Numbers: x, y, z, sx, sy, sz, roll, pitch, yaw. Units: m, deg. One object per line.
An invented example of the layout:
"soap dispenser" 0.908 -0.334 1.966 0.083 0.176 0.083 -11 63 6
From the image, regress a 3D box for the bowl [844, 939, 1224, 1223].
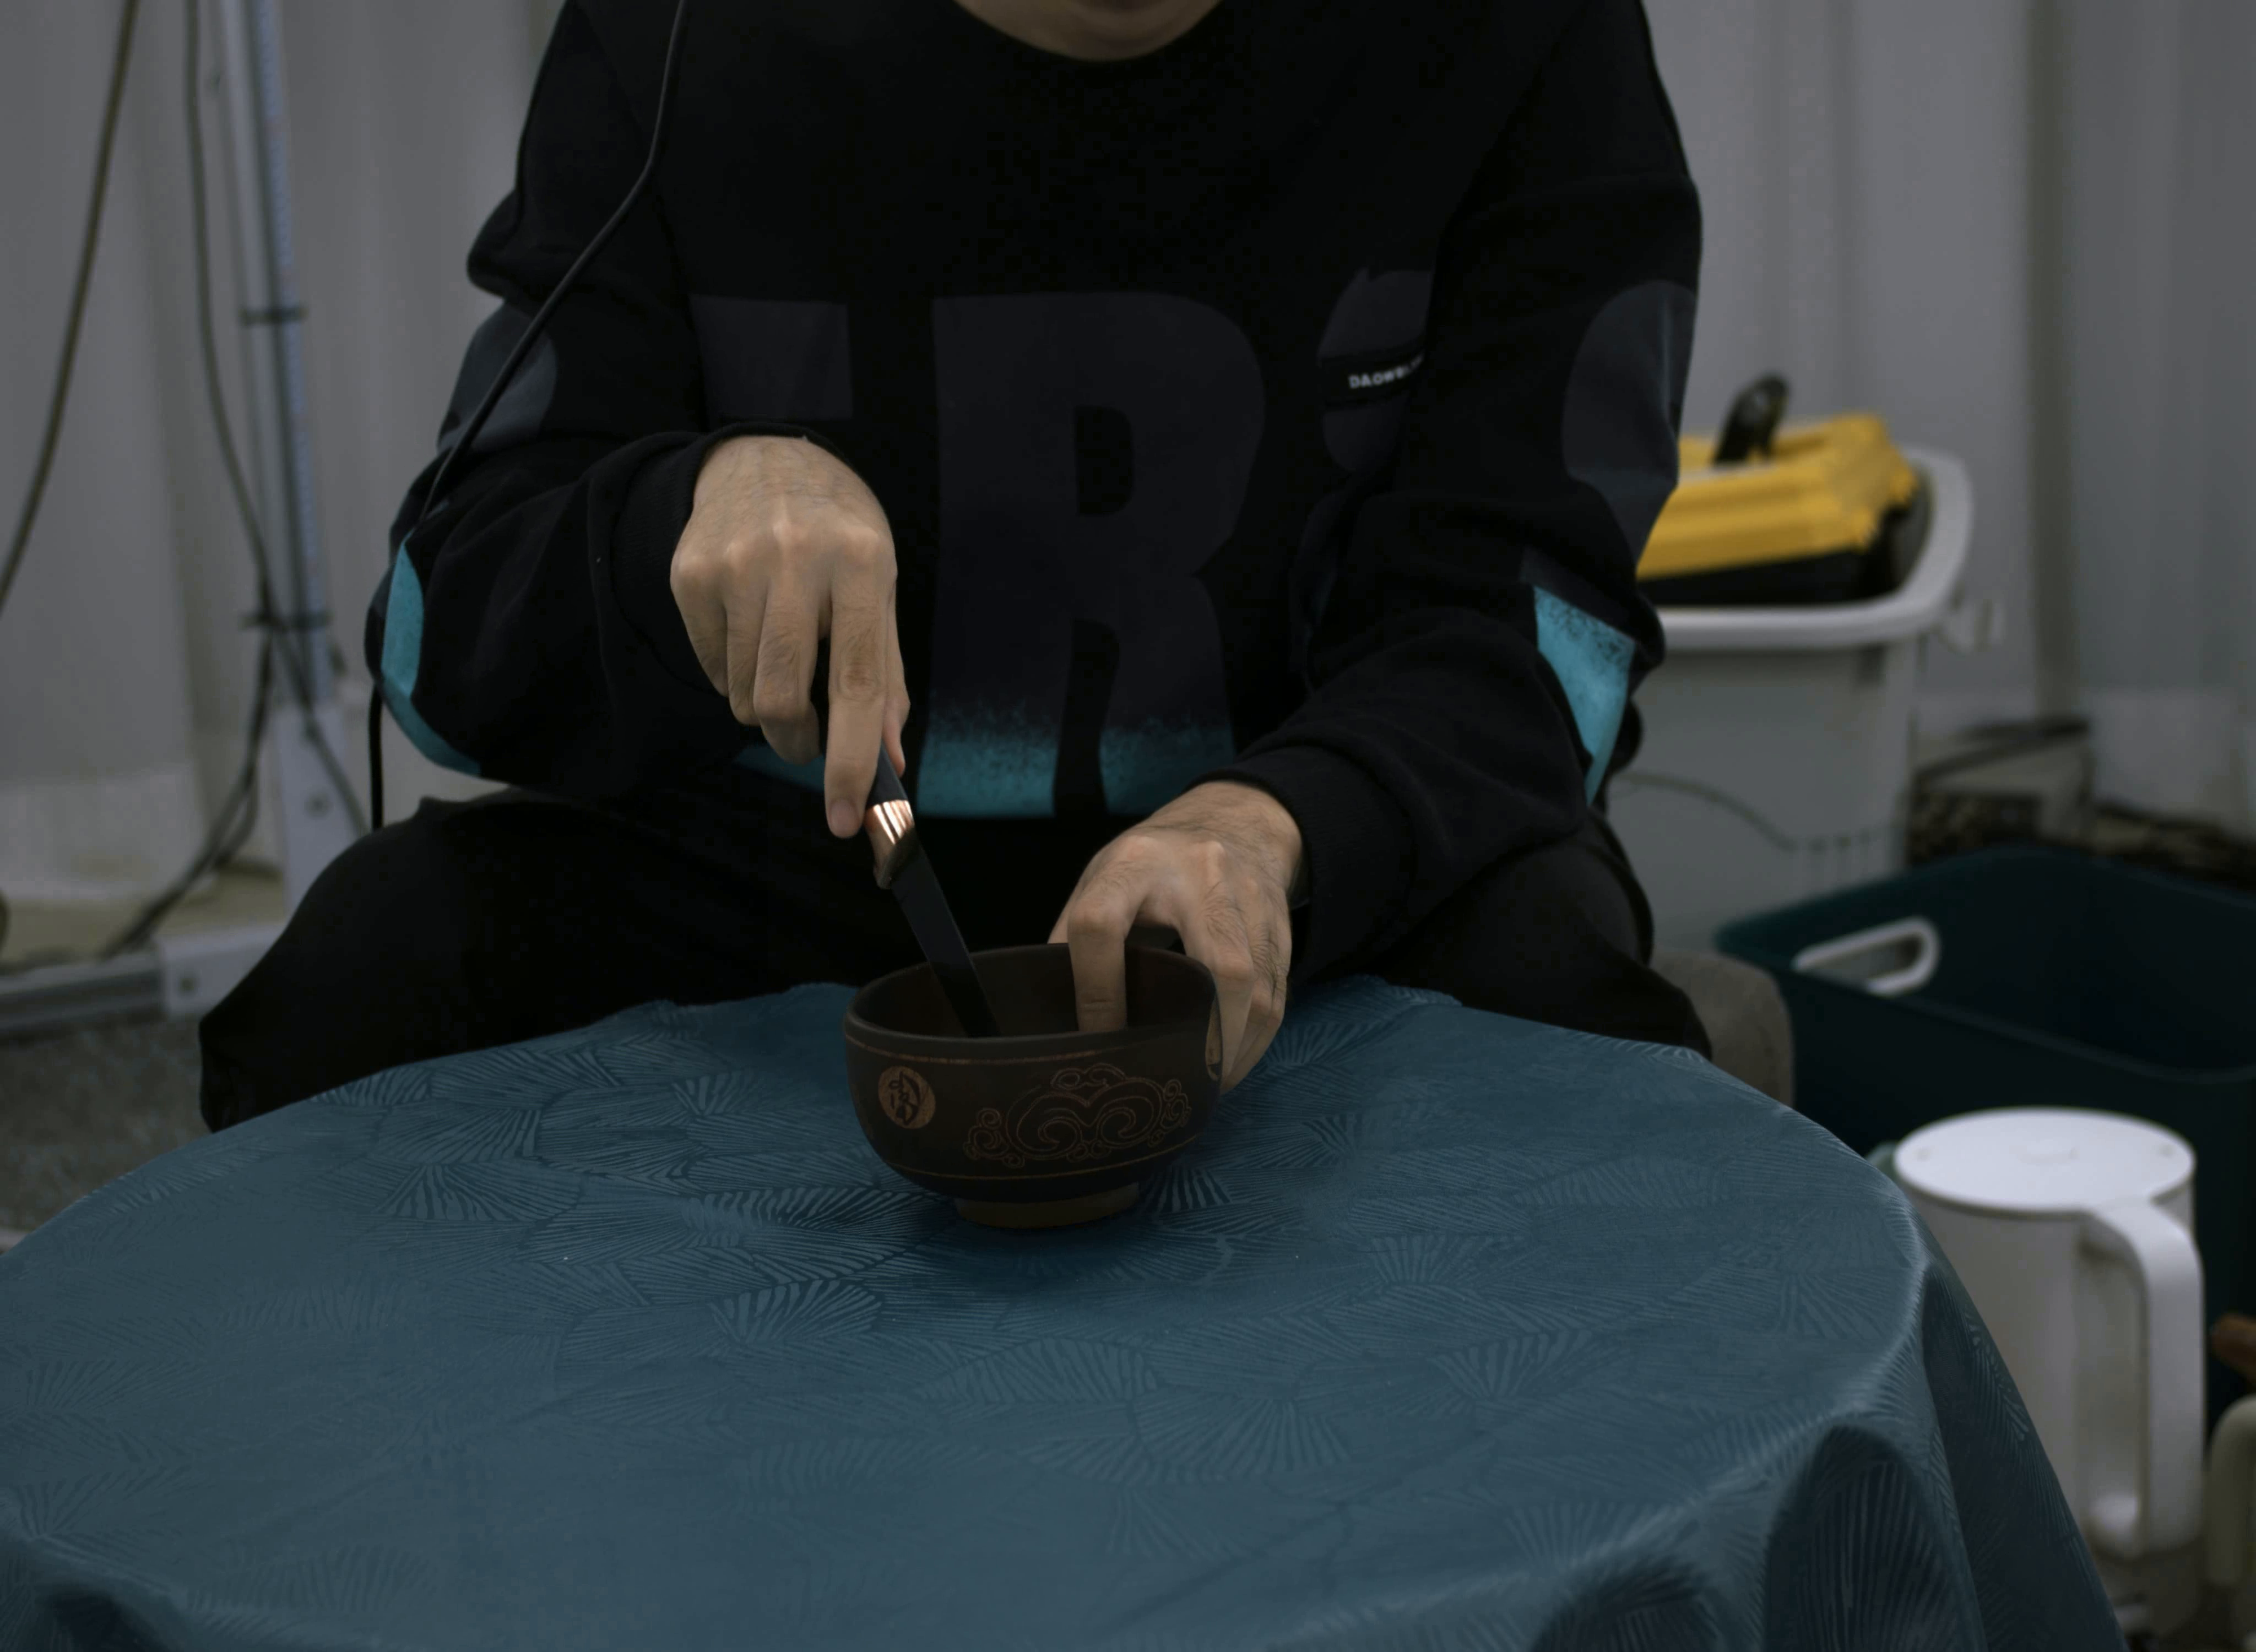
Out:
"bowl" -0.029 0.082 1.695 0.117 0.069 0.118 -2 12 0

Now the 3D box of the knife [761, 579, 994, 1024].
"knife" -0.070 0.014 1.739 0.017 0.026 0.228 1 53 -41
